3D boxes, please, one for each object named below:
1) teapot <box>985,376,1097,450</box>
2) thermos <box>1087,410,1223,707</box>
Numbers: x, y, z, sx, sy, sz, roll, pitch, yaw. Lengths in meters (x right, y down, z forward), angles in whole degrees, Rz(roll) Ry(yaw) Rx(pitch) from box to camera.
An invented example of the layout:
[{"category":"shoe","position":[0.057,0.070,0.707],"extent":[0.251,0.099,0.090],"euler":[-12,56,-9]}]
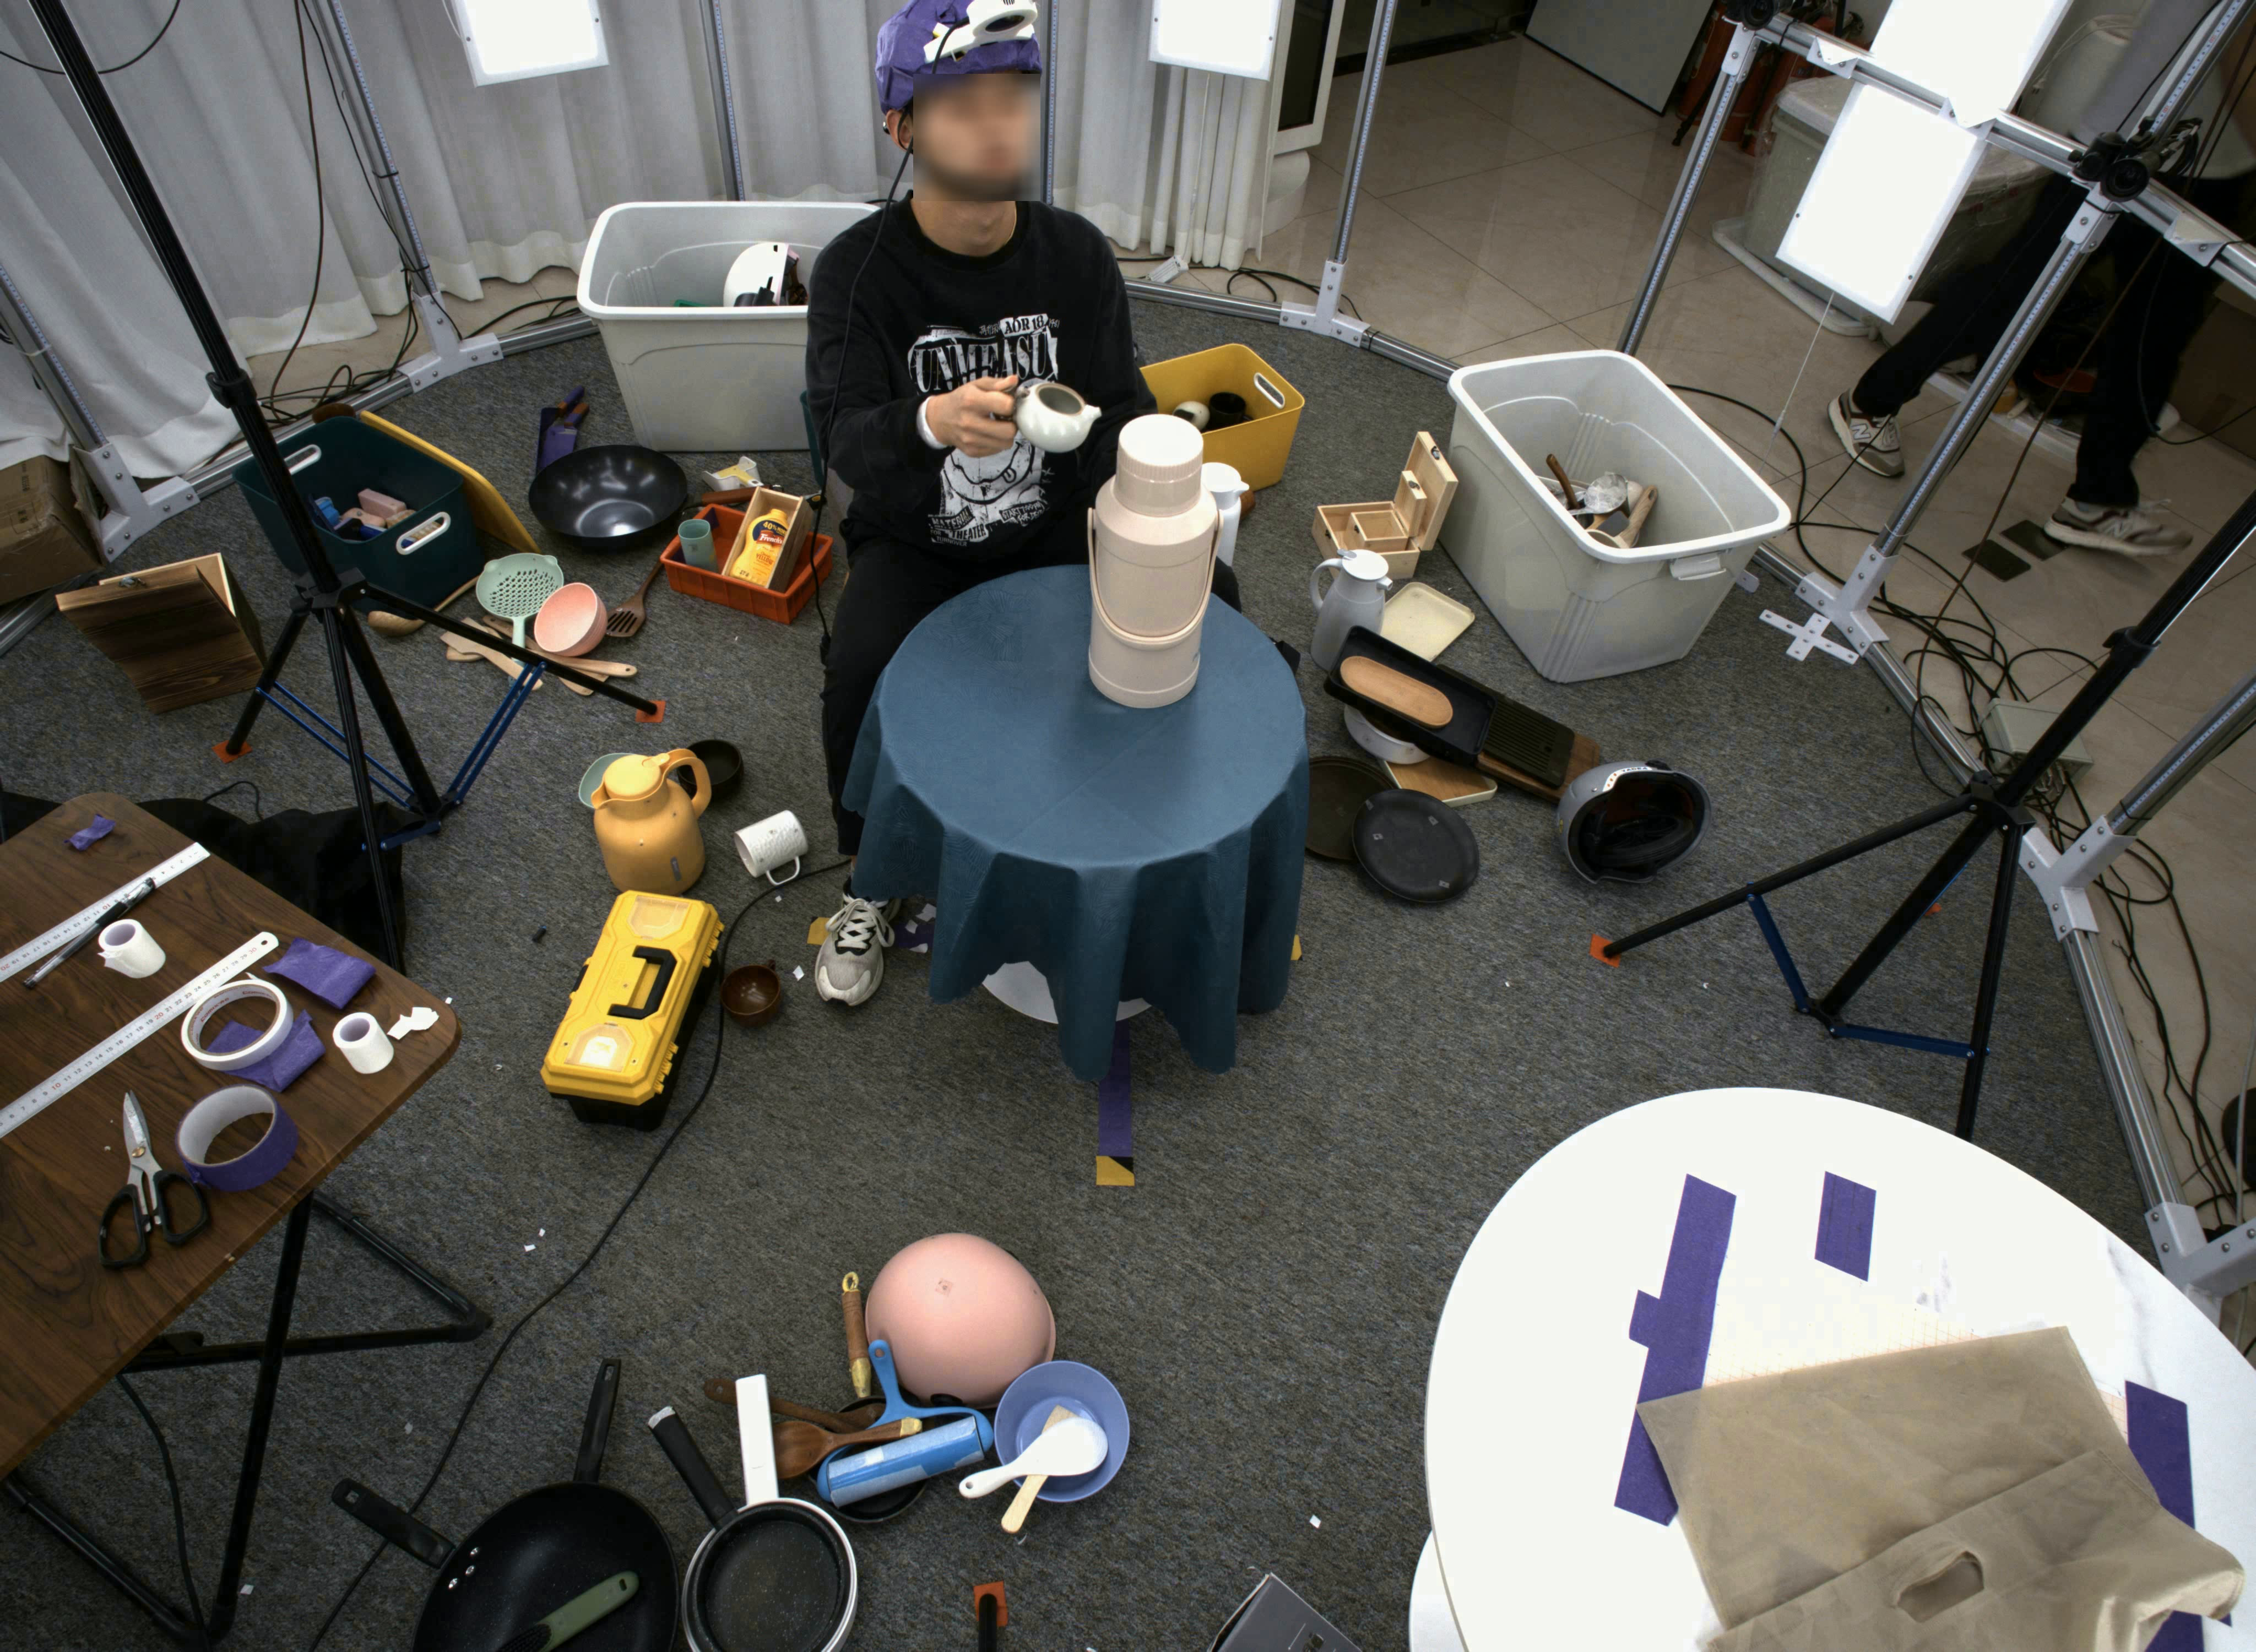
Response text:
[{"category":"teapot","position":[-0.103,-0.483,1.514],"extent":[0.127,0.058,0.094],"euler":[8,52,-19]},{"category":"thermos","position":[0.033,-0.362,1.727],"extent":[0.175,0.396,0.212],"euler":[-2,52,-2]}]
